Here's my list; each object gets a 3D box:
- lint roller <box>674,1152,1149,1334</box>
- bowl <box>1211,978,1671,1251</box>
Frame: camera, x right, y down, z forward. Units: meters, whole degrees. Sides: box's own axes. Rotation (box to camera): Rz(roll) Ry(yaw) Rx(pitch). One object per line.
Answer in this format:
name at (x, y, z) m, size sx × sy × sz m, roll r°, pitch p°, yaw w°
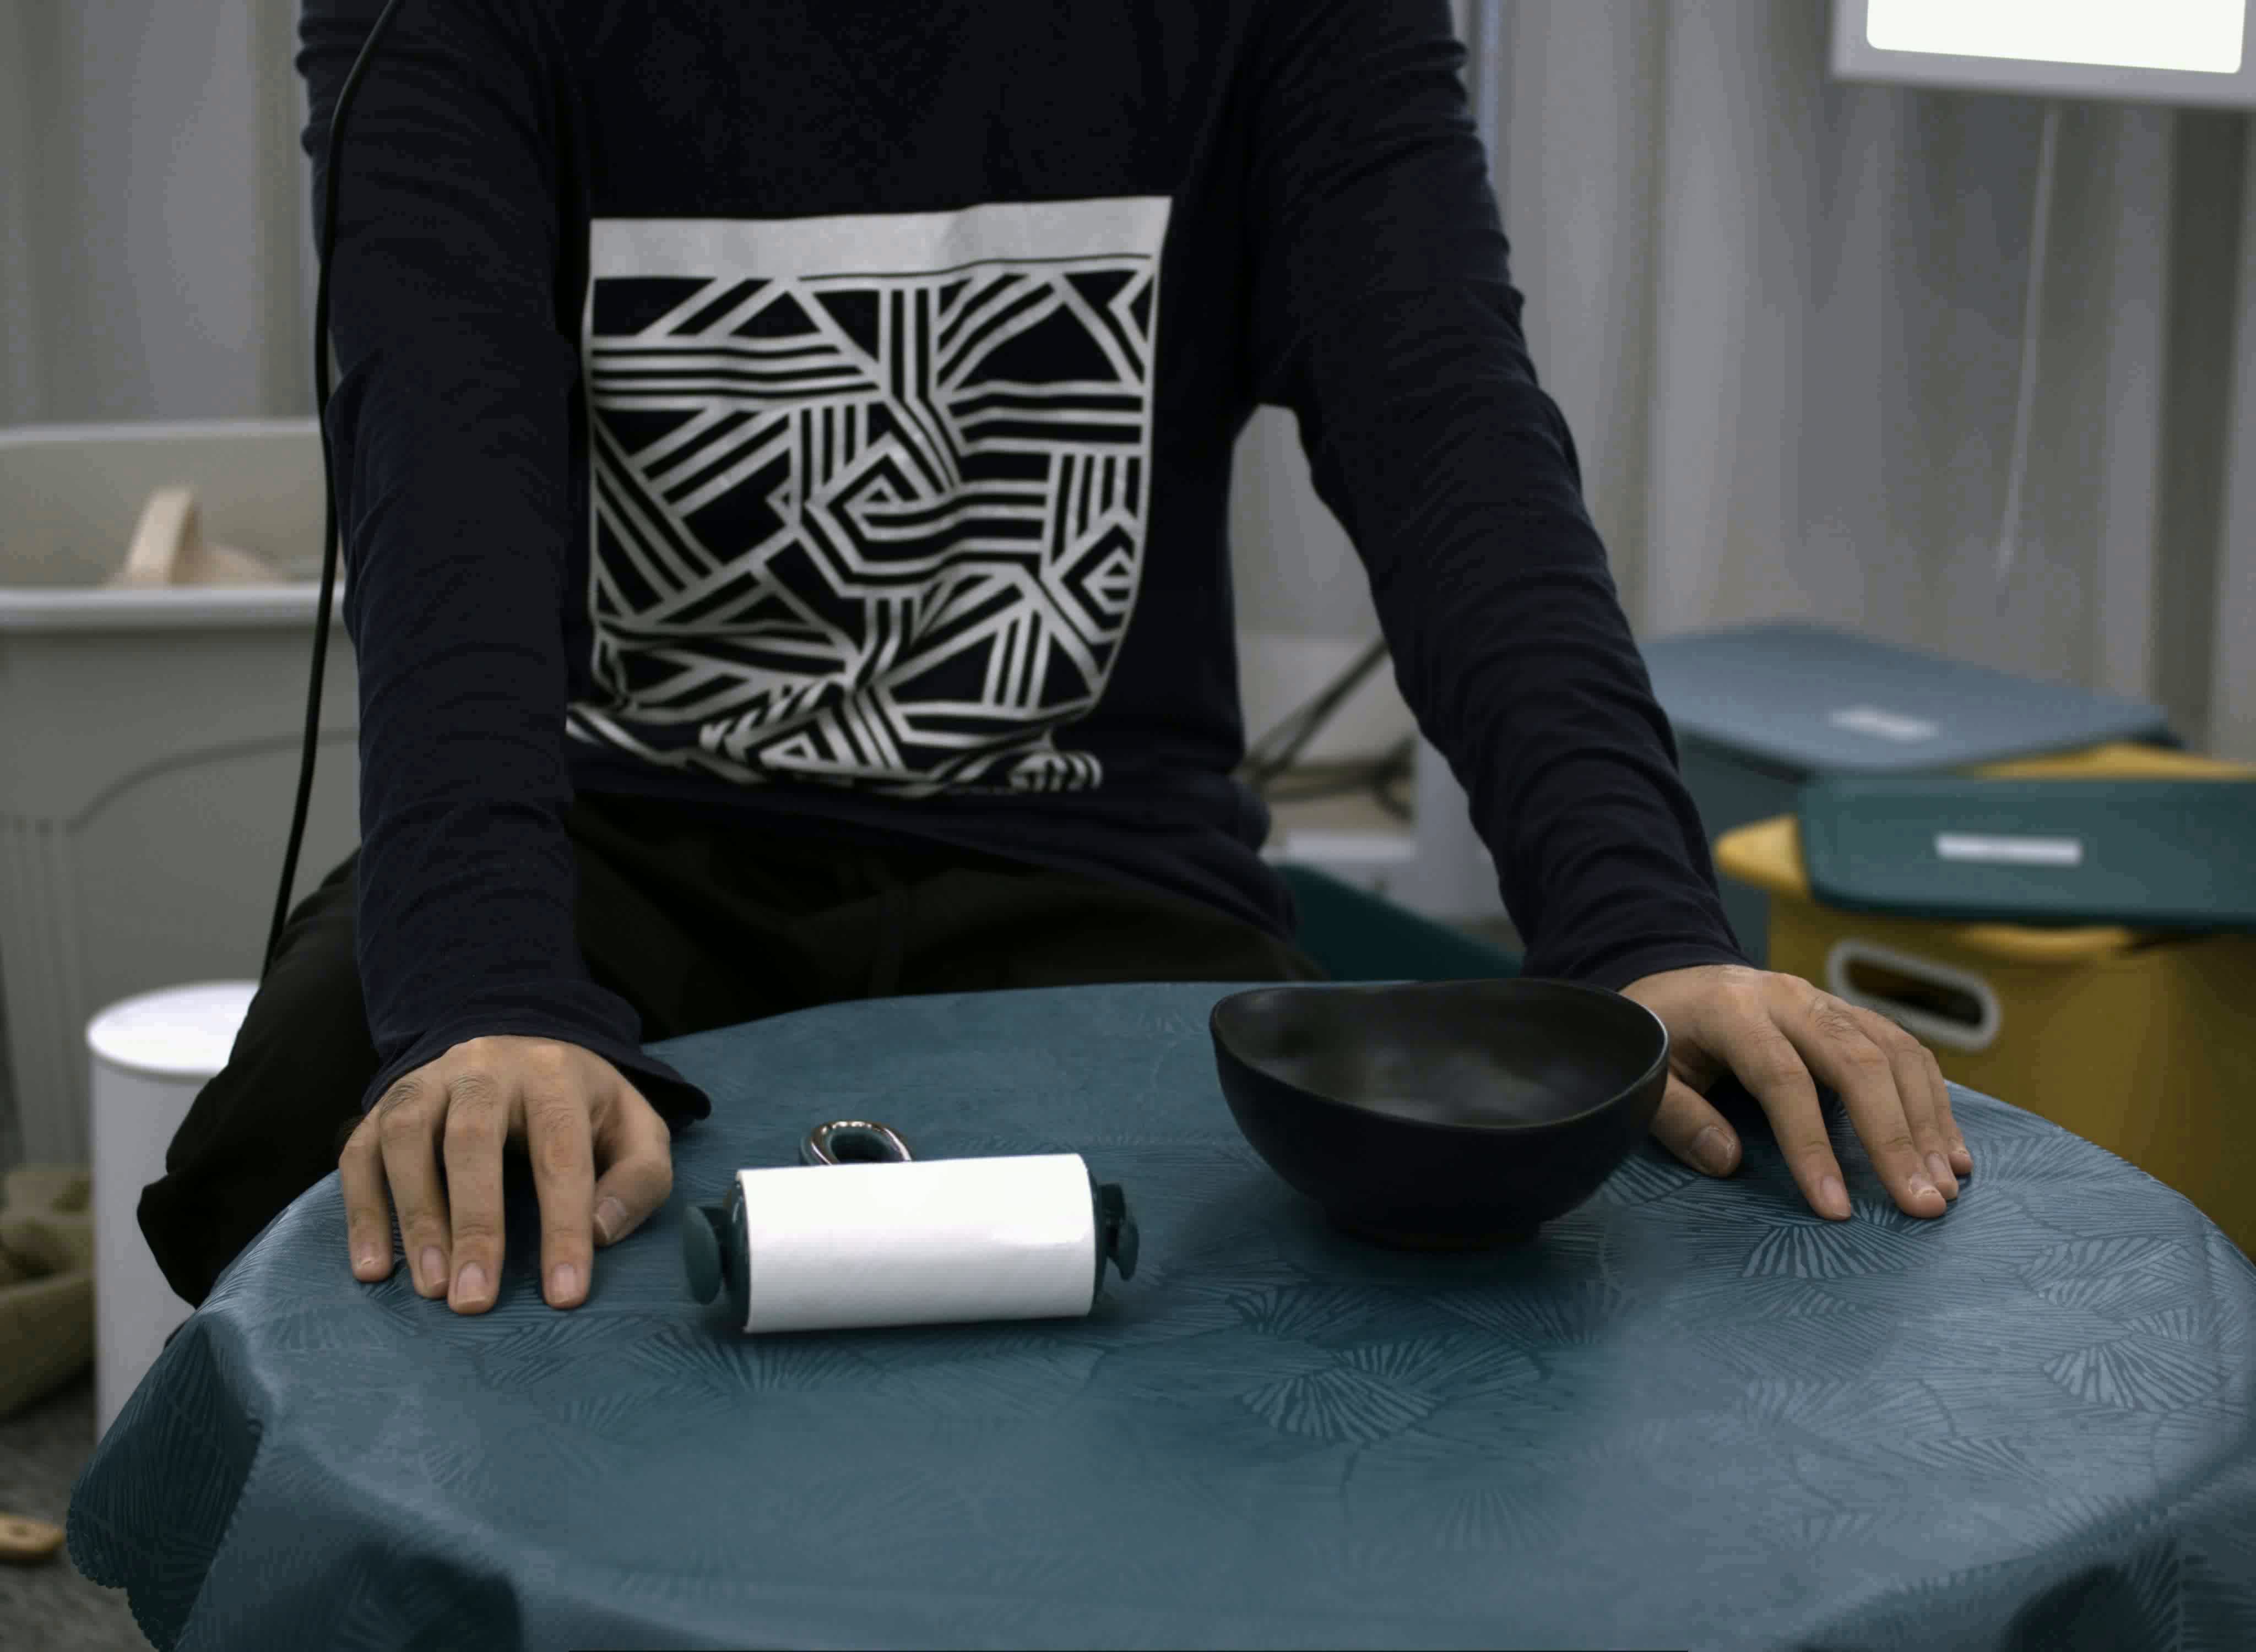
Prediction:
lint roller at (-0.075, 0.106, 1.571) m, size 0.134 × 0.048 × 0.178 m, roll -2°, pitch 12°, yaw -11°
bowl at (0.093, 0.089, 1.594) m, size 0.137 × 0.067 × 0.169 m, roll -2°, pitch 14°, yaw -11°
